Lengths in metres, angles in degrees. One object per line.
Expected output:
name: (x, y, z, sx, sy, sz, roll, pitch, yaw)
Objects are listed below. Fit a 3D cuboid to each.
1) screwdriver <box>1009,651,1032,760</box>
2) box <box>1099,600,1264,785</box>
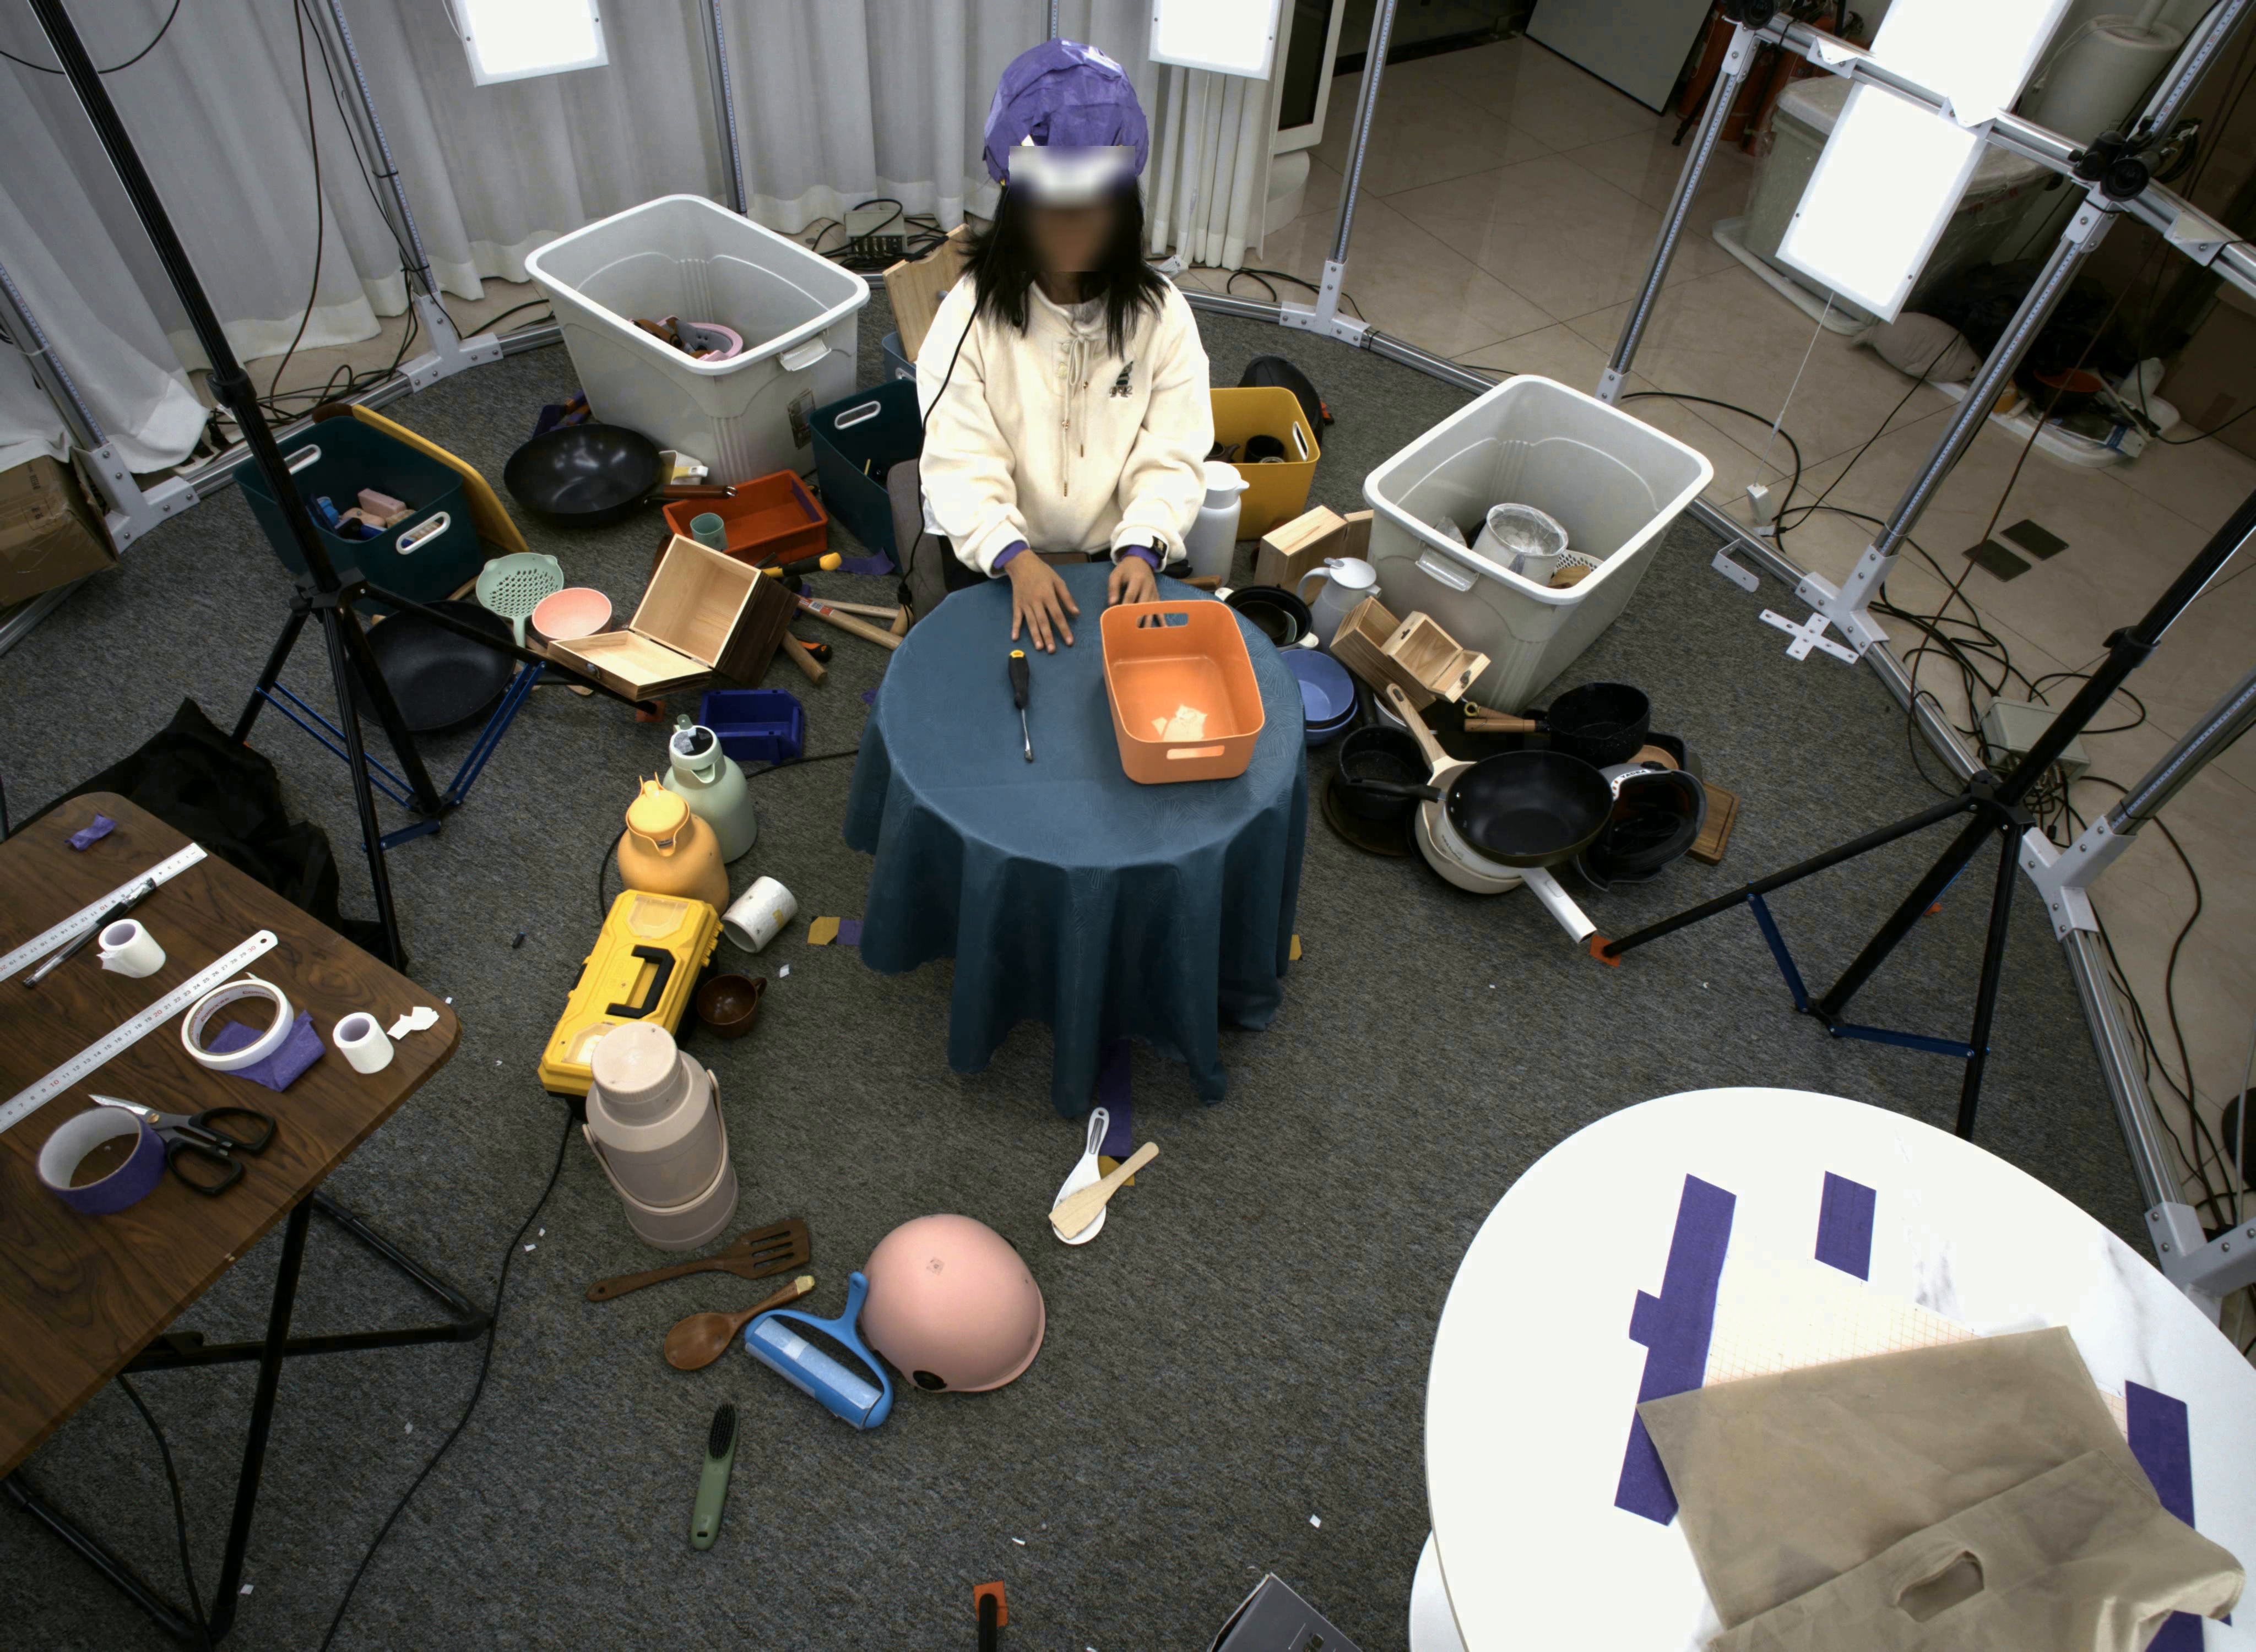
screwdriver: (-0.149, -0.169, 1.793, 0.031, 0.031, 0.203, -1, 52, -6)
box: (0.068, -0.183, 1.766, 0.199, 0.100, 0.280, -5, 50, -8)
